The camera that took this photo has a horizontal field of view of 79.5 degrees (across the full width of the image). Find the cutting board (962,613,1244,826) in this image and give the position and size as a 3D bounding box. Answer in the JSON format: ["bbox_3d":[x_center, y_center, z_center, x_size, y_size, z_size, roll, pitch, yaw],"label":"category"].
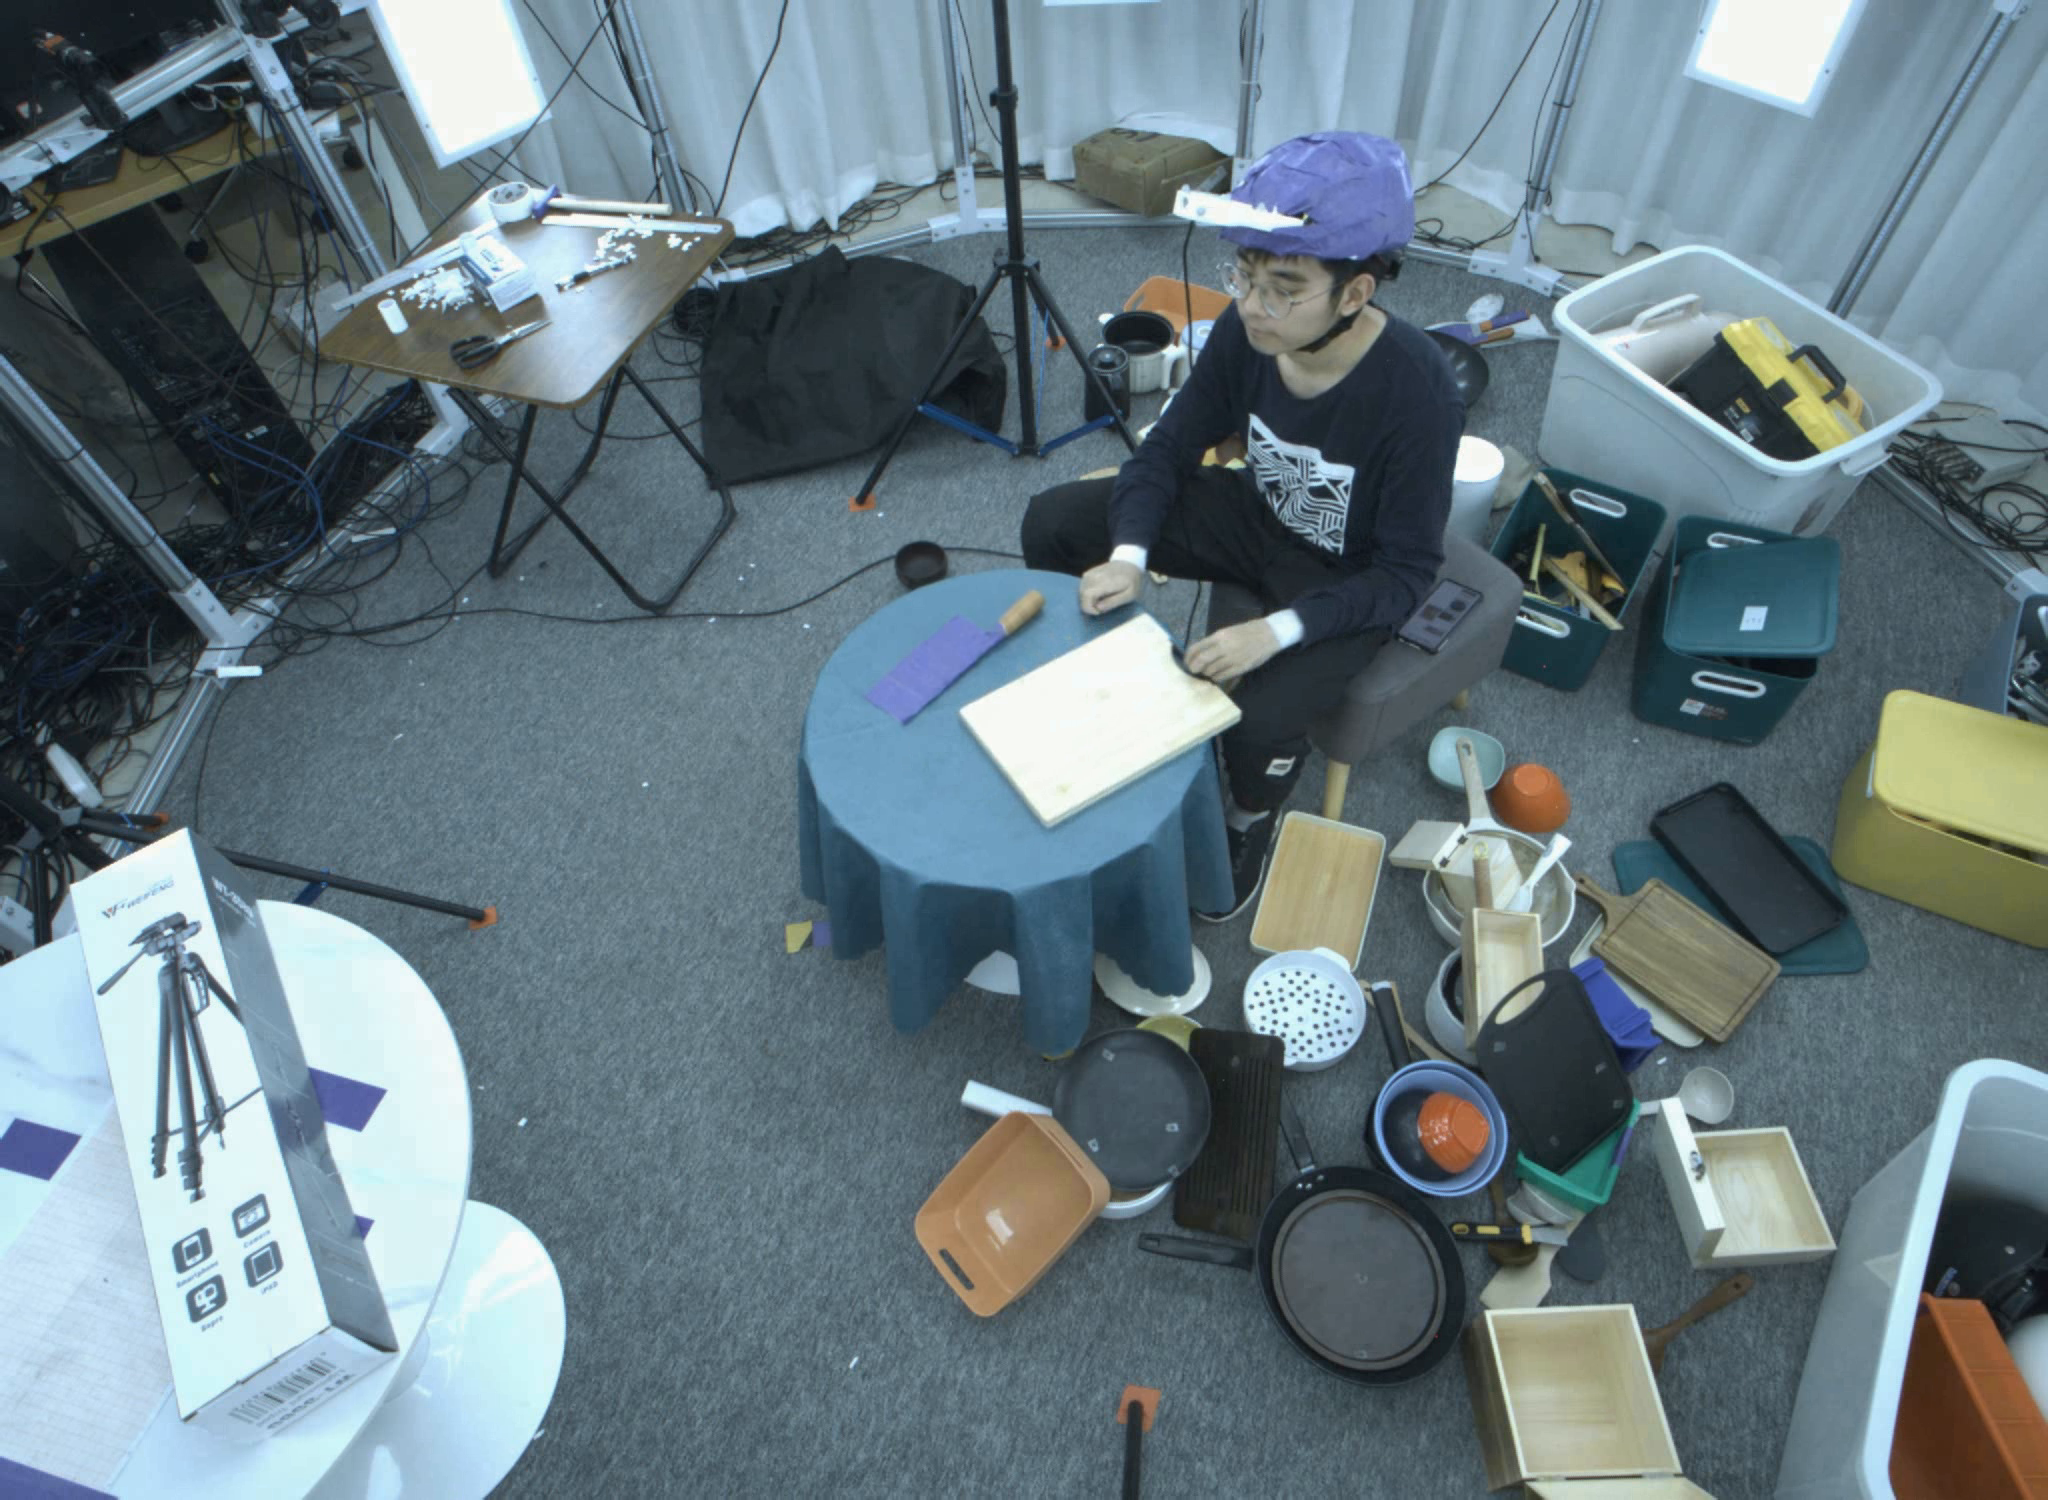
[{"bbox_3d":[0.113,-0.054,1.821,0.351,0.024,0.246,-29,59,-18],"label":"cutting board"}]

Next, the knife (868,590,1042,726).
[{"bbox_3d":[-0.108,-0.161,1.896,0.102,0.032,0.317,36,63,23],"label":"knife"}]
